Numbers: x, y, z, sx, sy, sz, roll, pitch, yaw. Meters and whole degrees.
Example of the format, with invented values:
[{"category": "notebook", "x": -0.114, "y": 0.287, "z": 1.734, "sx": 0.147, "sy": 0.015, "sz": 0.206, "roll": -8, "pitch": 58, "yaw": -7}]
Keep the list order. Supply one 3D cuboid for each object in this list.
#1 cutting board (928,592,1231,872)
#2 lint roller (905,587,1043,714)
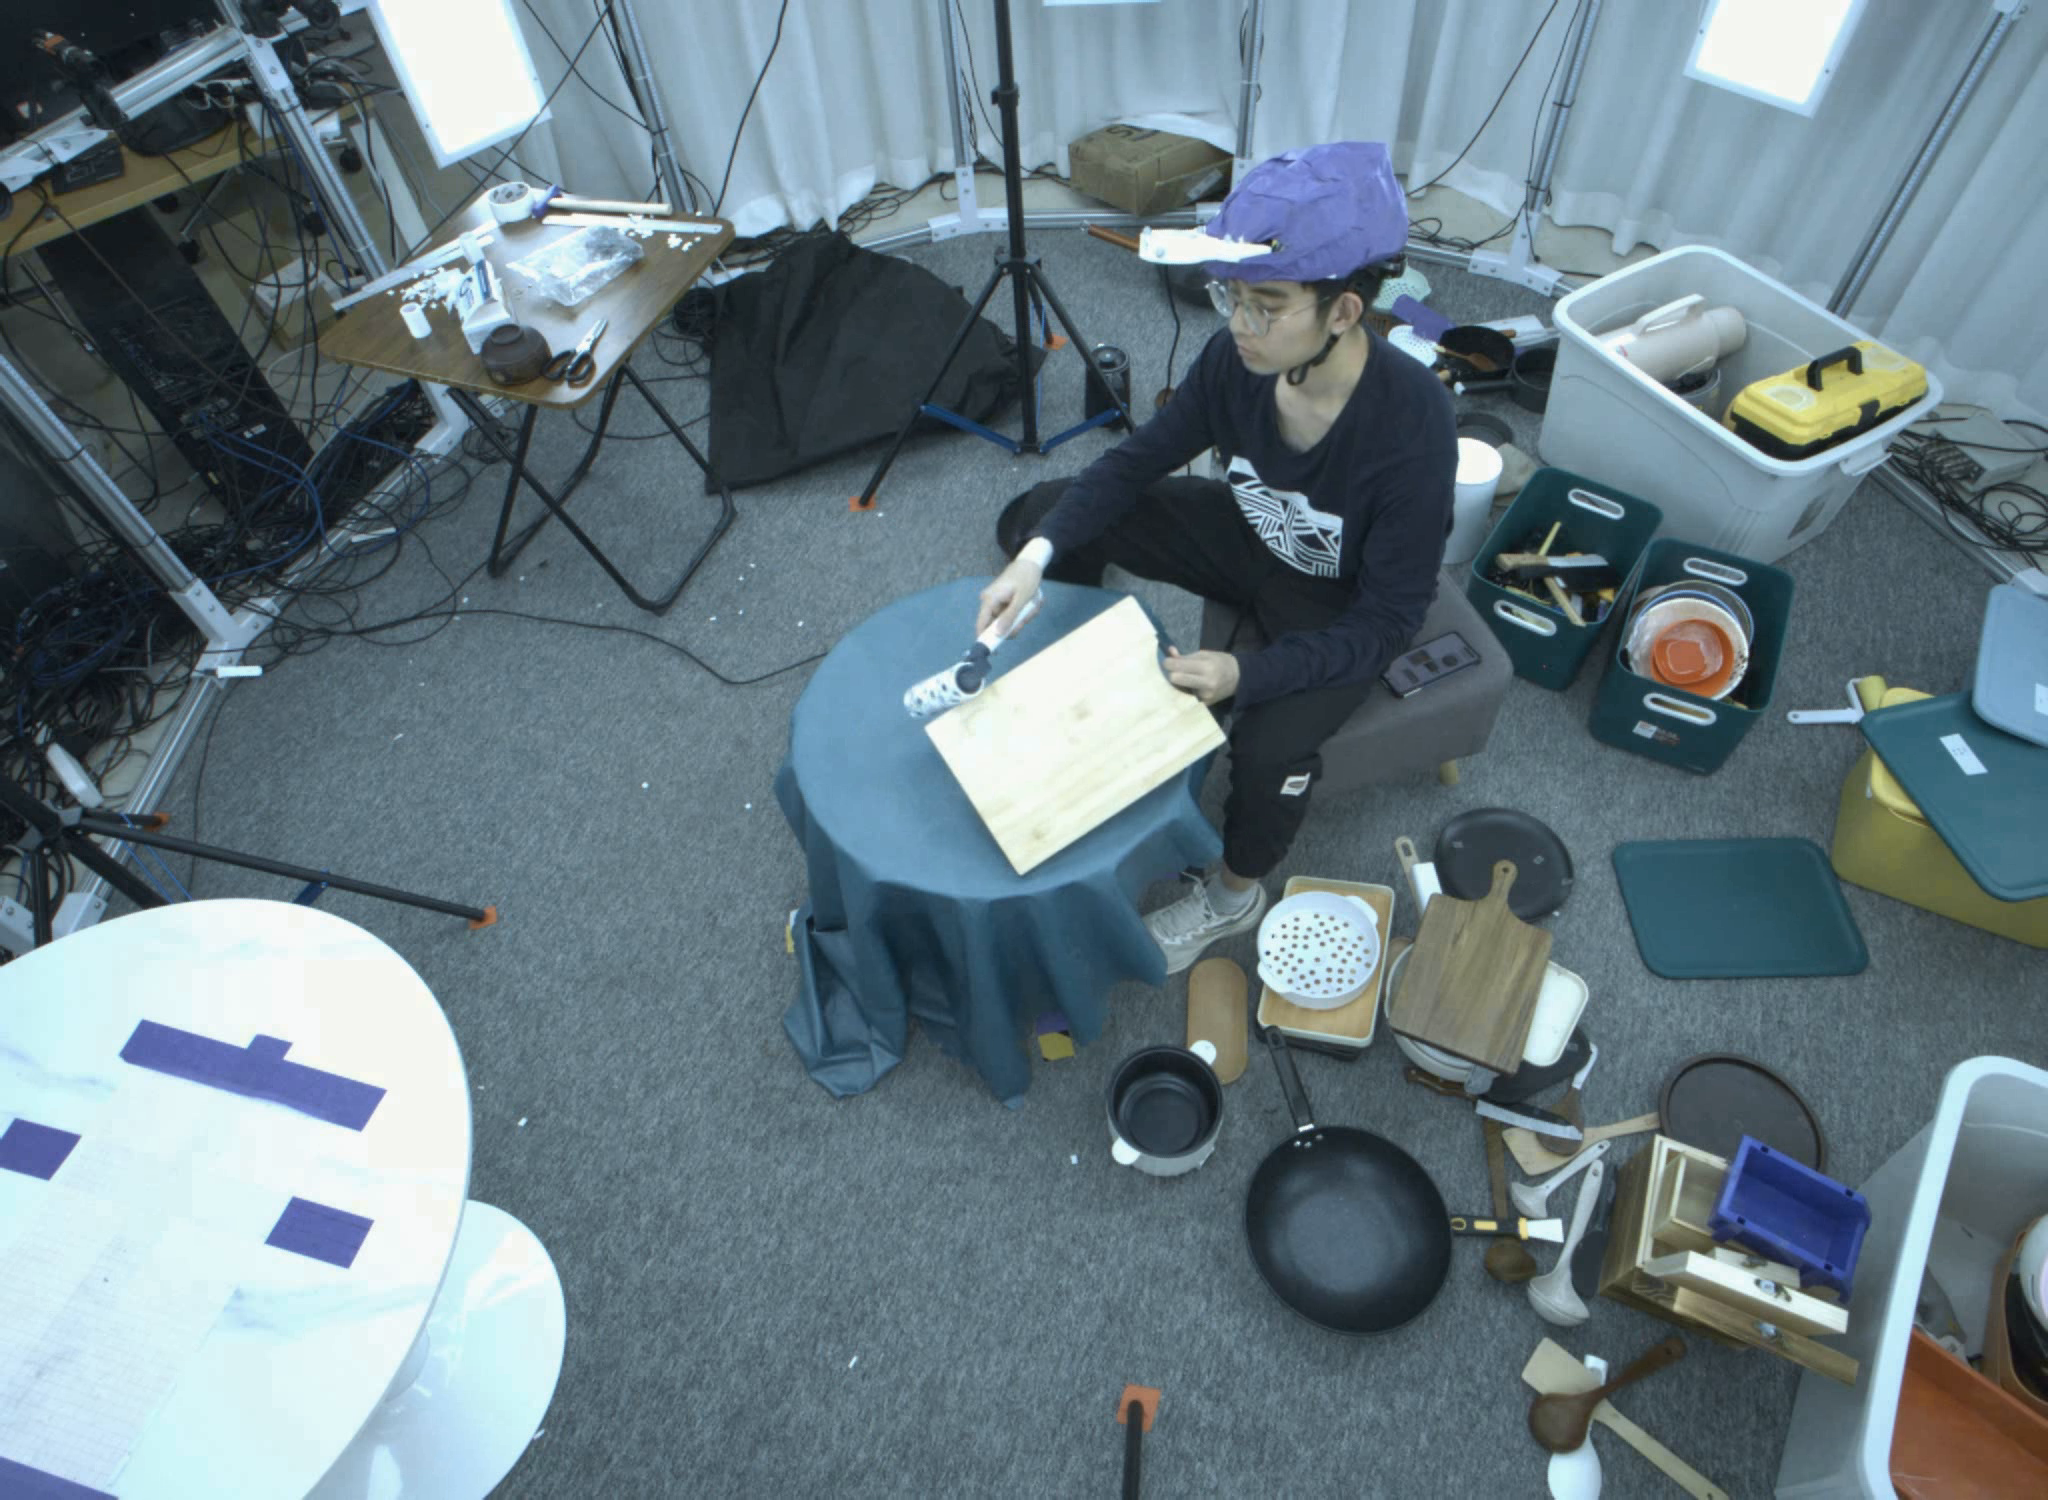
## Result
[{"category": "cutting board", "x": 0.075, "y": -0.027, "z": 1.689, "sx": 0.349, "sy": 0.023, "sz": 0.251, "roll": -33, "pitch": 91, "yaw": -7}, {"category": "lint roller", "x": -0.055, "y": -0.154, "z": 1.731, "sx": 0.051, "sy": 0.173, "sz": 0.248, "roll": 47, "pitch": 60, "yaw": -16}]
